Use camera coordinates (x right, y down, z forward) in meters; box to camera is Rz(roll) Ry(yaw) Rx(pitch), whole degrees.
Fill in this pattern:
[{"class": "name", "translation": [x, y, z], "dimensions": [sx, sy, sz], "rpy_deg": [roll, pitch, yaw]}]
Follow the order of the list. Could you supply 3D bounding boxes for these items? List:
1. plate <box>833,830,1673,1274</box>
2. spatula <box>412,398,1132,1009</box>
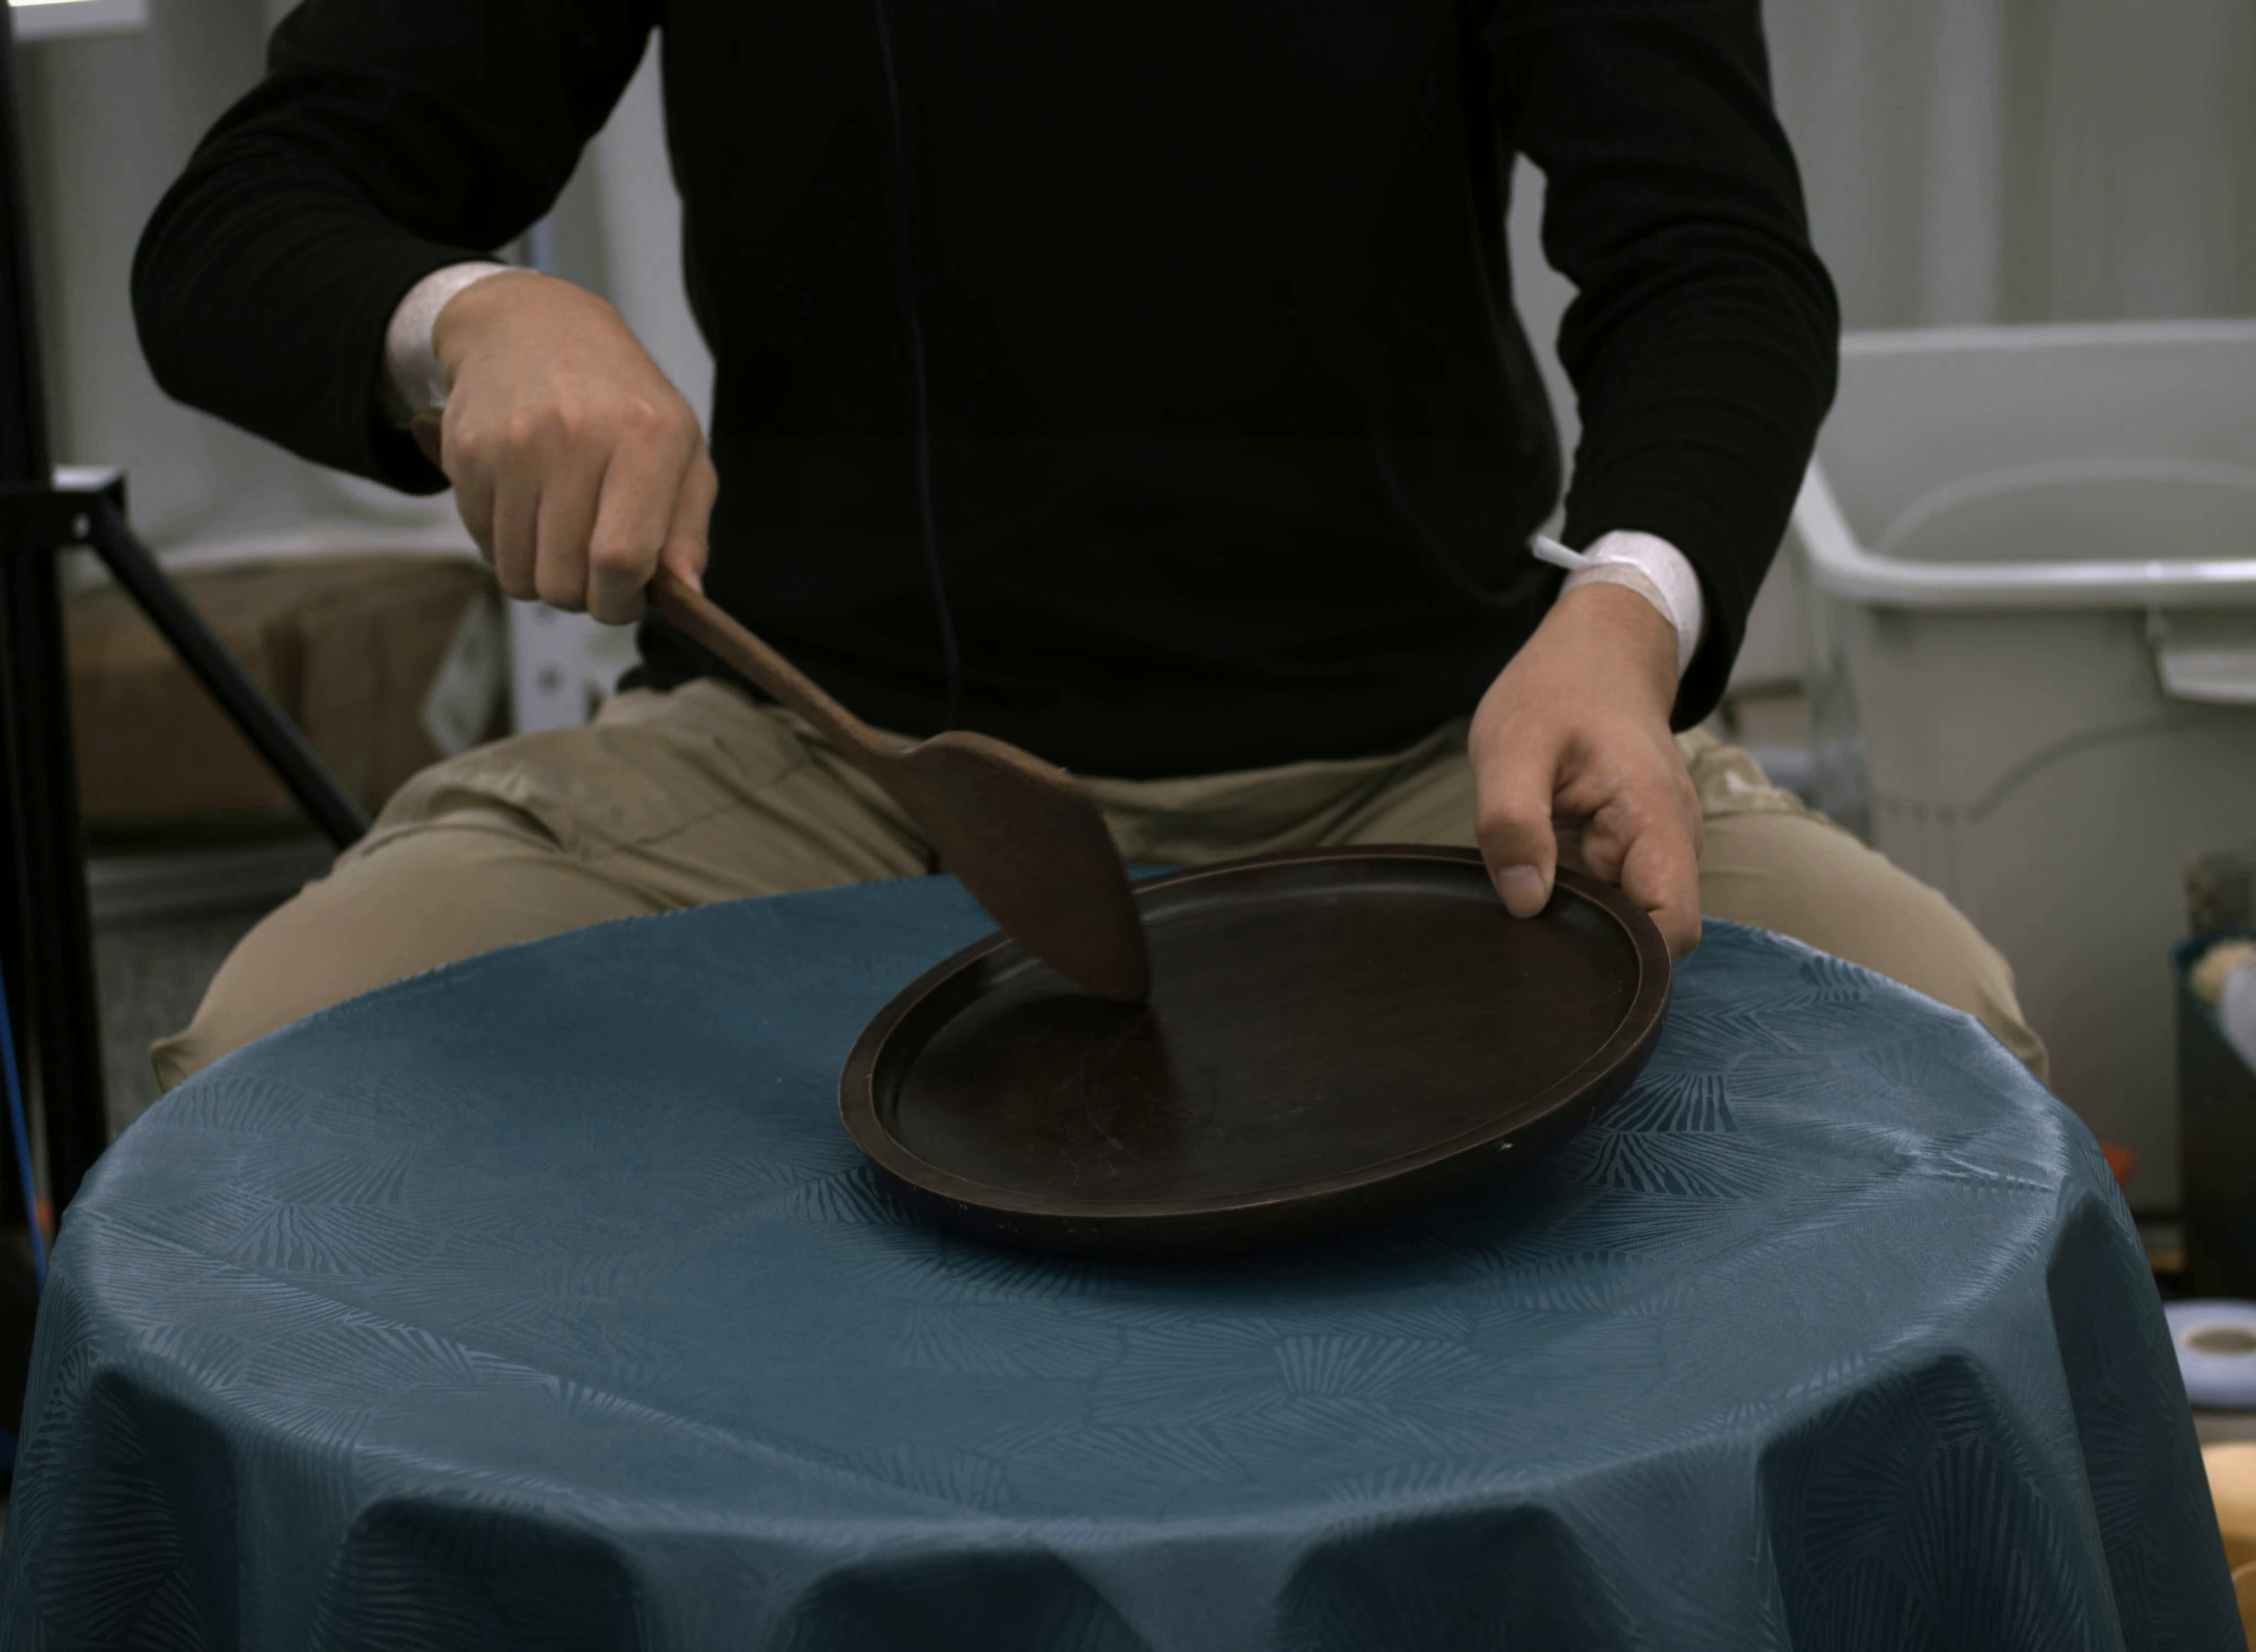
[{"class": "plate", "translation": [0.037, 0.067, 1.584], "dimensions": [0.254, 0.029, 0.256], "rpy_deg": [-10, 23, 3]}, {"class": "spatula", "translation": [-0.122, -0.055, 1.717], "dimensions": [0.015, 0.095, 0.395], "rpy_deg": [-33, 44, -22]}]
